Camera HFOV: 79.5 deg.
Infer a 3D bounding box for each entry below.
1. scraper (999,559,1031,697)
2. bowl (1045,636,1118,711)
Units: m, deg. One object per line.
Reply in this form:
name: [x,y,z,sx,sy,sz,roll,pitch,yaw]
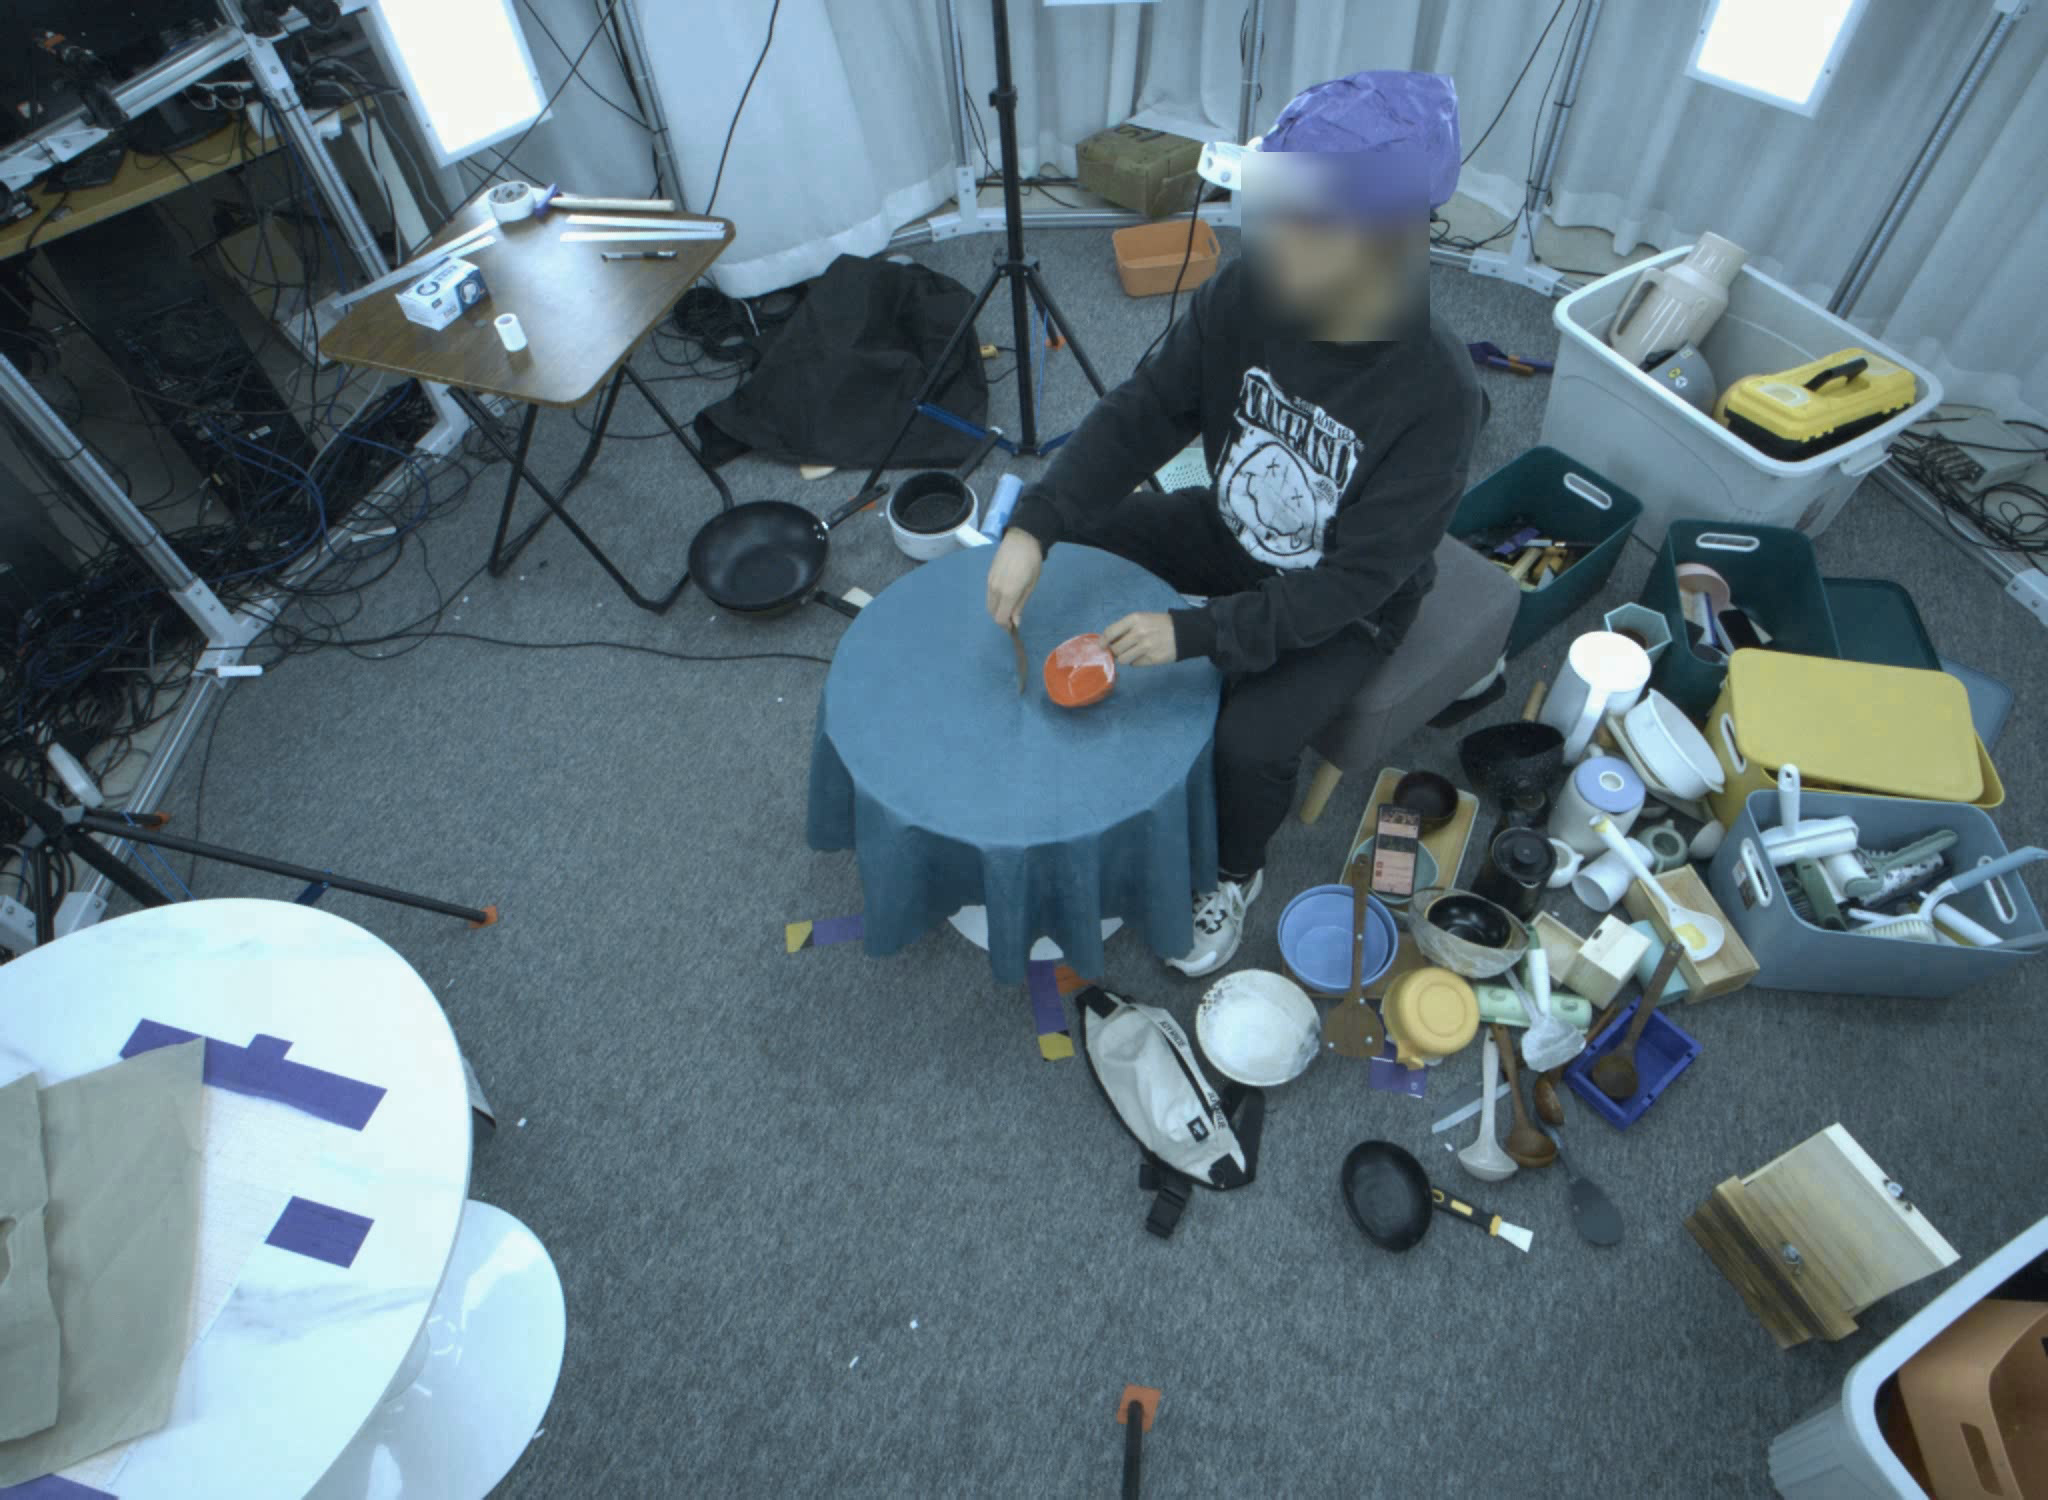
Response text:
scraper: [-0.015,-0.185,1.834,0.011,0.076,0.210,-10,78,-10]
bowl: [0.093,-0.106,1.823,0.117,0.052,0.118,-11,64,25]
